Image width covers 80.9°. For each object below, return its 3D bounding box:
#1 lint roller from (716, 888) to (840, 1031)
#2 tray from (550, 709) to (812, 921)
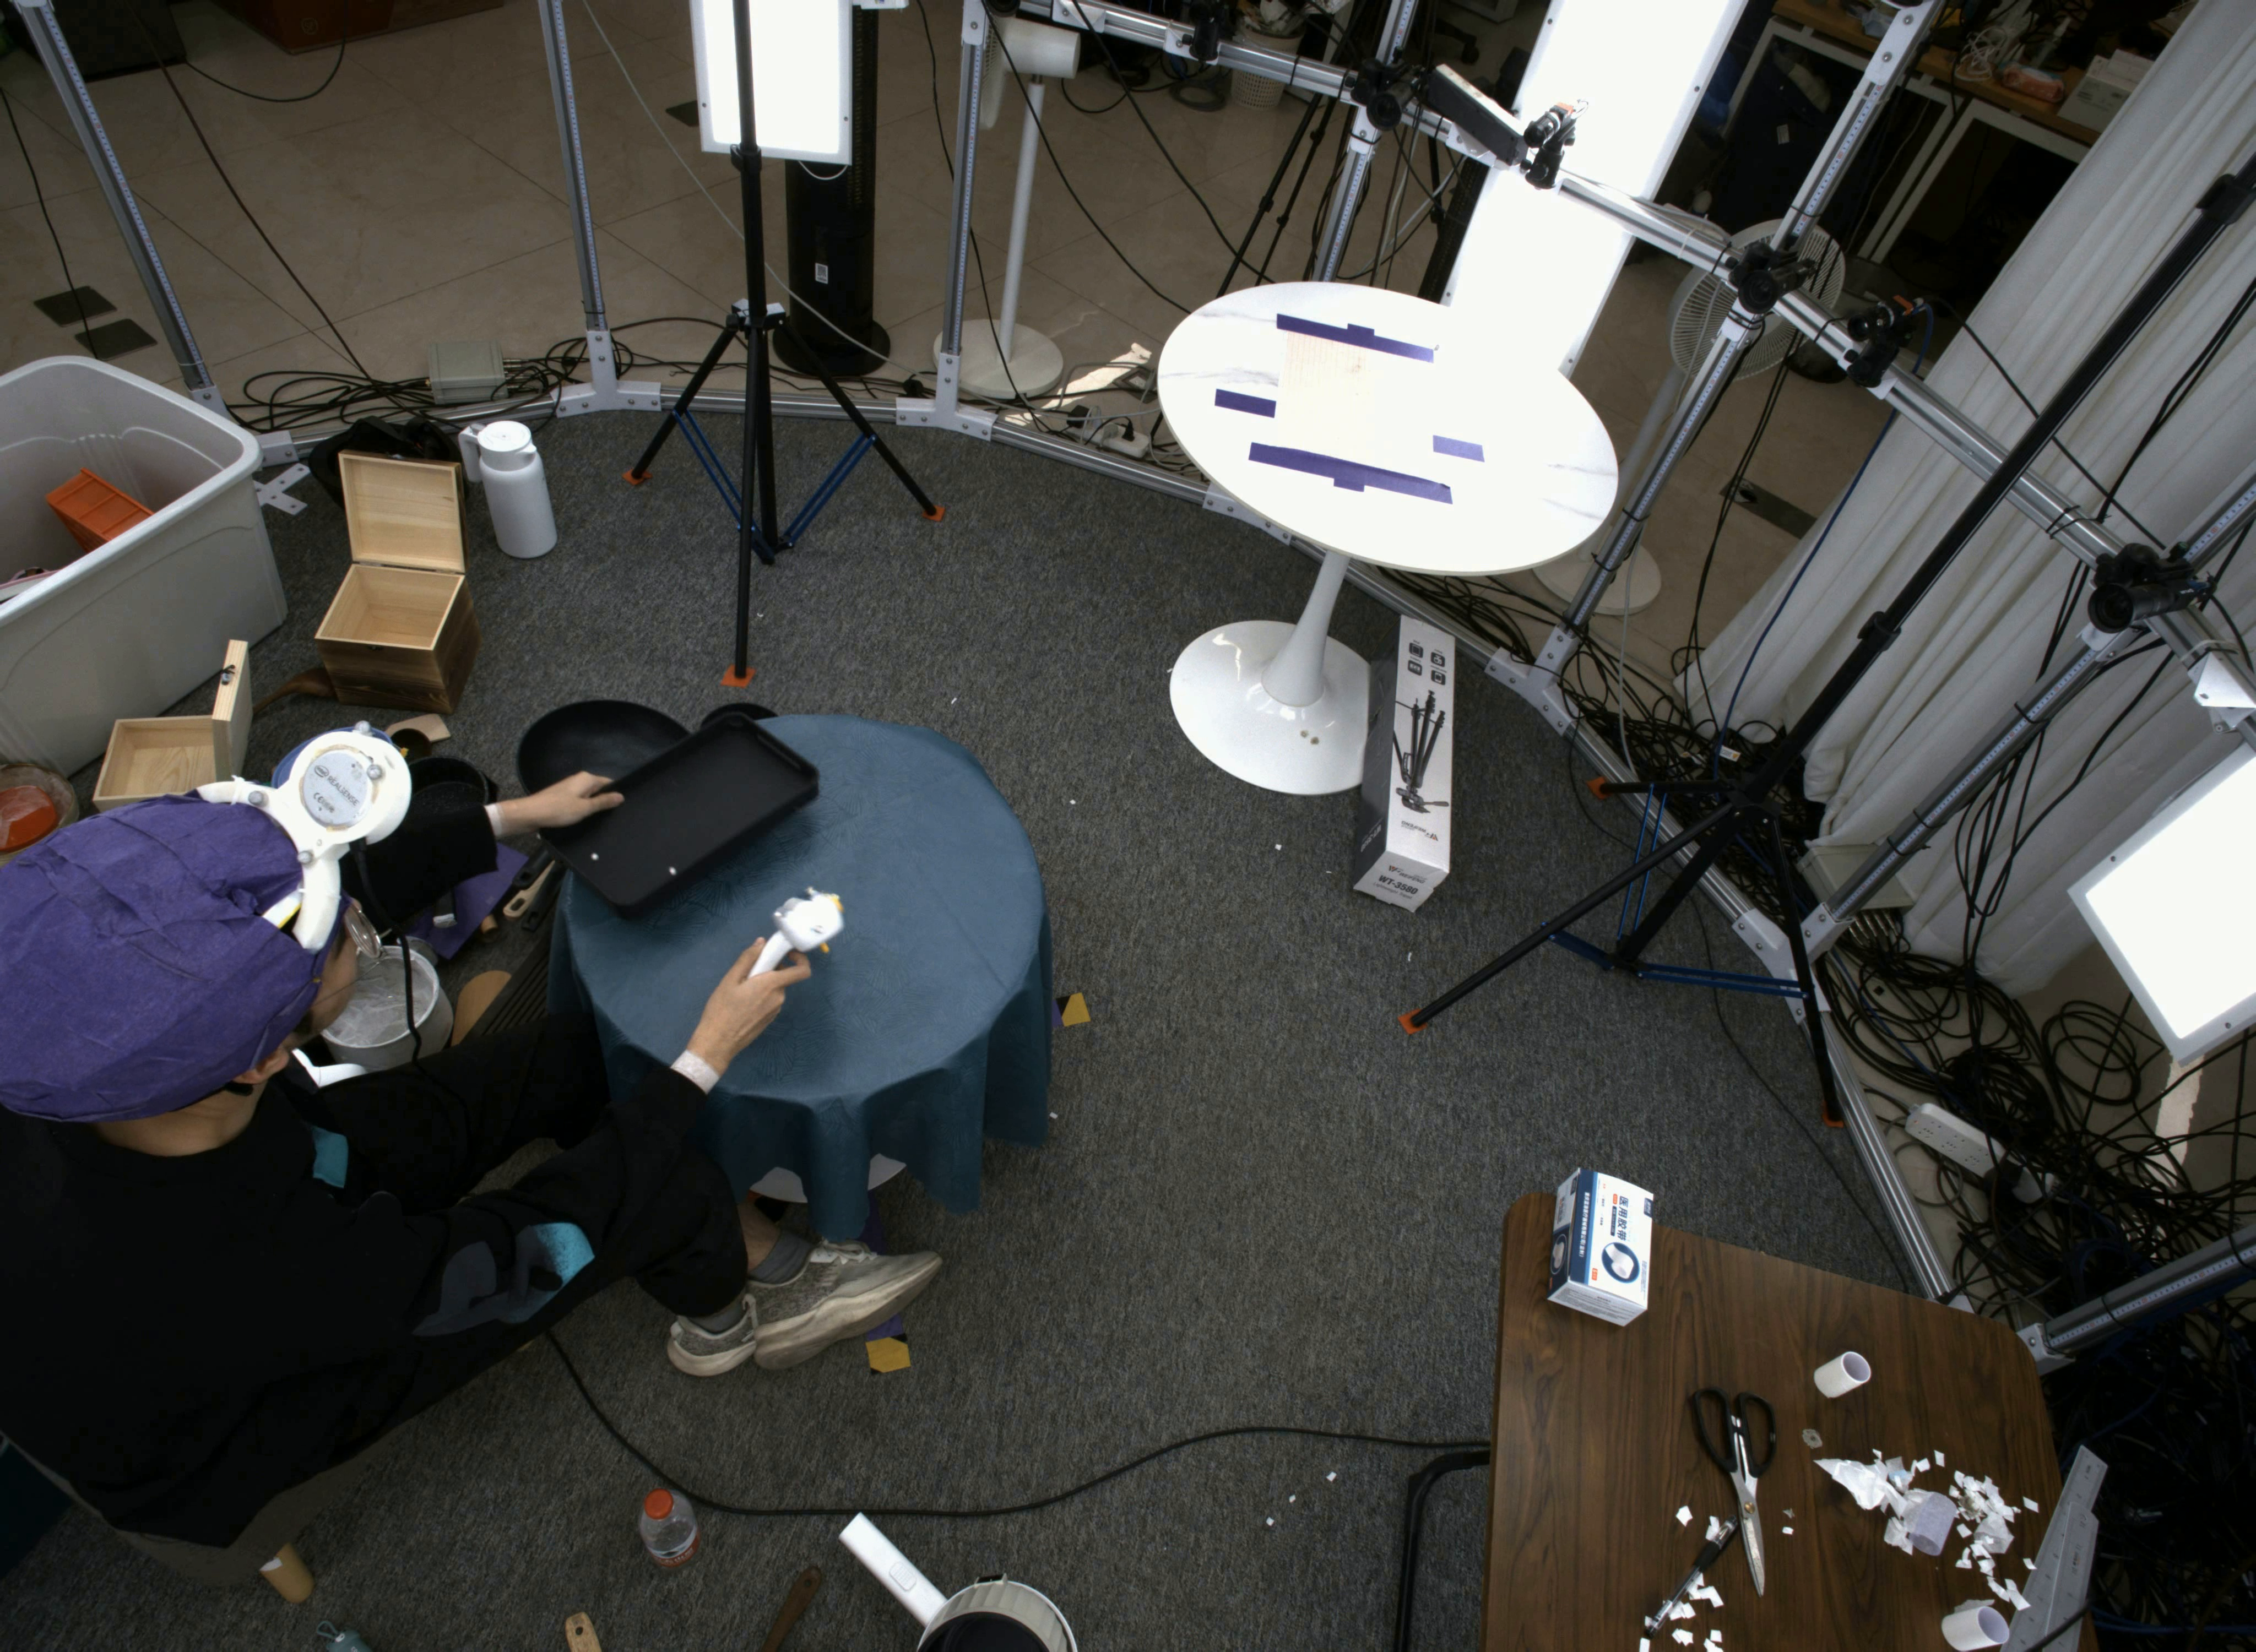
[{"bbox_3d":[-0.412,0.149,1.493,0.192,0.189,0.076,-42,104,-10],"label":"lint roller"},{"bbox_3d":[-0.568,-0.023,1.628,0.179,0.038,0.318,33,52,20],"label":"tray"}]
